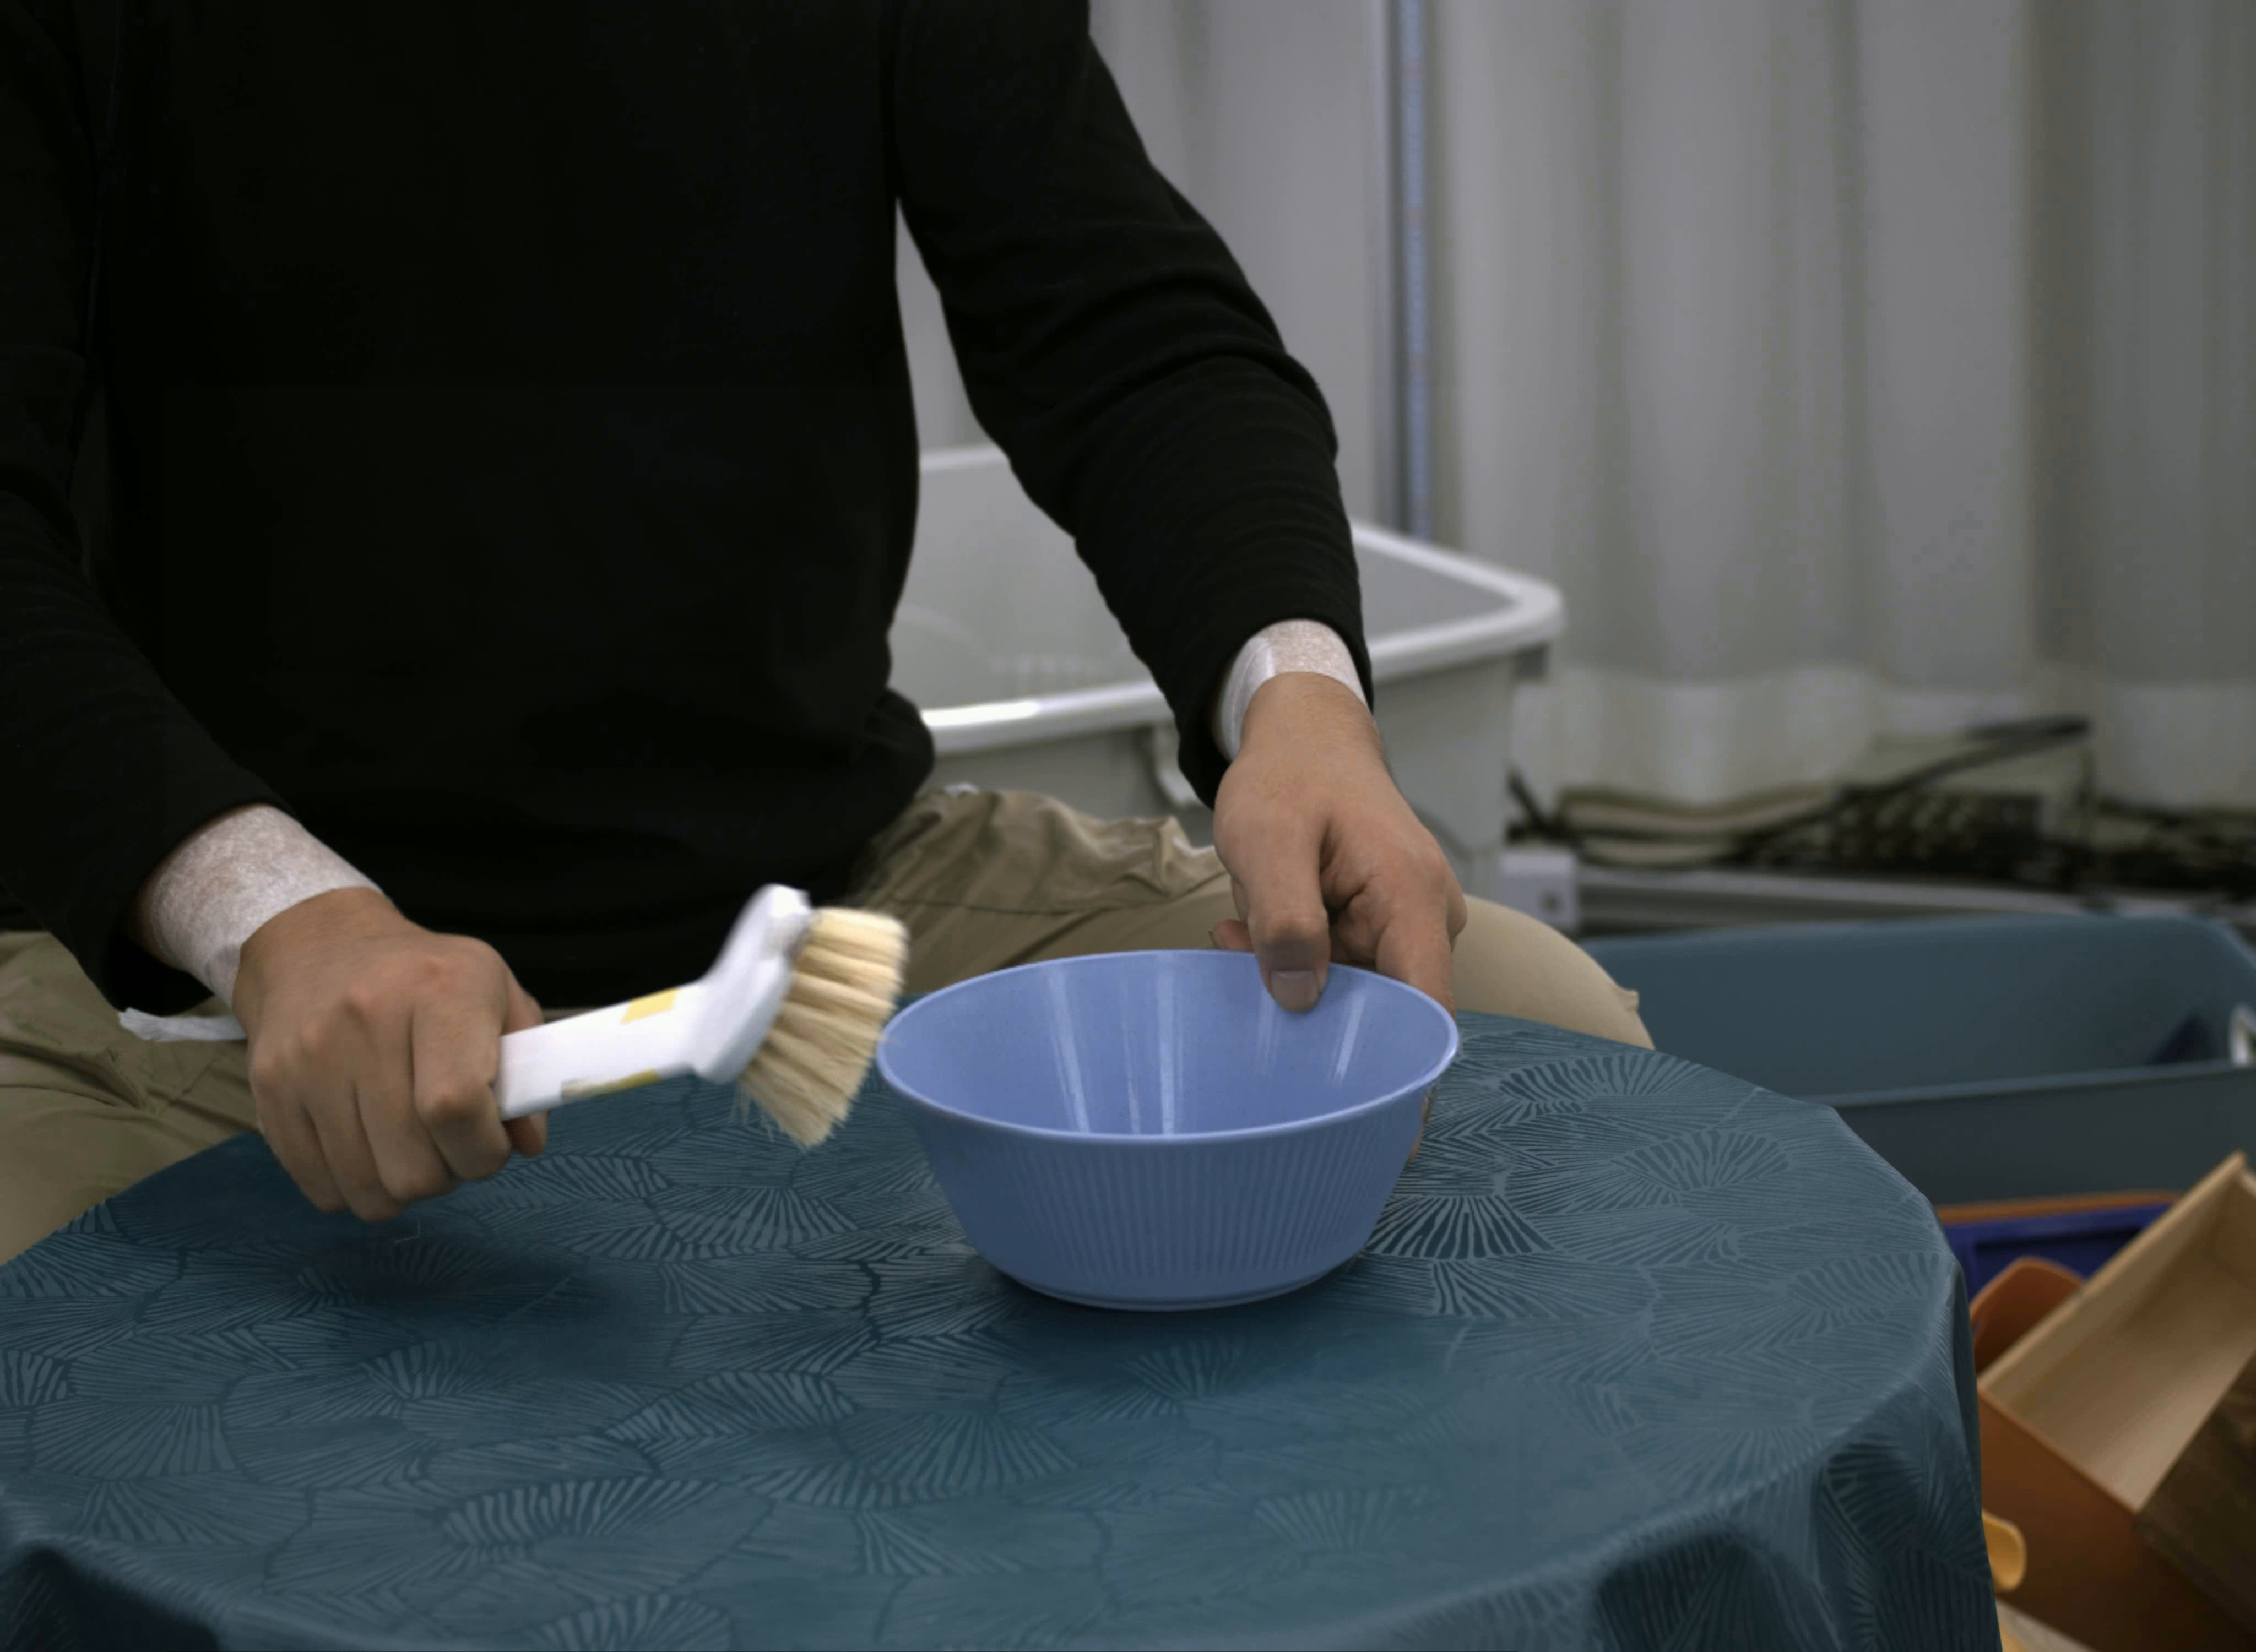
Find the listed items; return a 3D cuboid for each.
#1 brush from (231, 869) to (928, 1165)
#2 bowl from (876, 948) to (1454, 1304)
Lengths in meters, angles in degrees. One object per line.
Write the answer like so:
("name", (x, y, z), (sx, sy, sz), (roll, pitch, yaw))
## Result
("brush", (-0.161, 0.073, 1.613), (0.266, 0.055, 0.069), (-20, 35, 38))
("bowl", (0.010, 0.093, 1.647), (0.175, 0.070, 0.177), (0, 16, 0))
